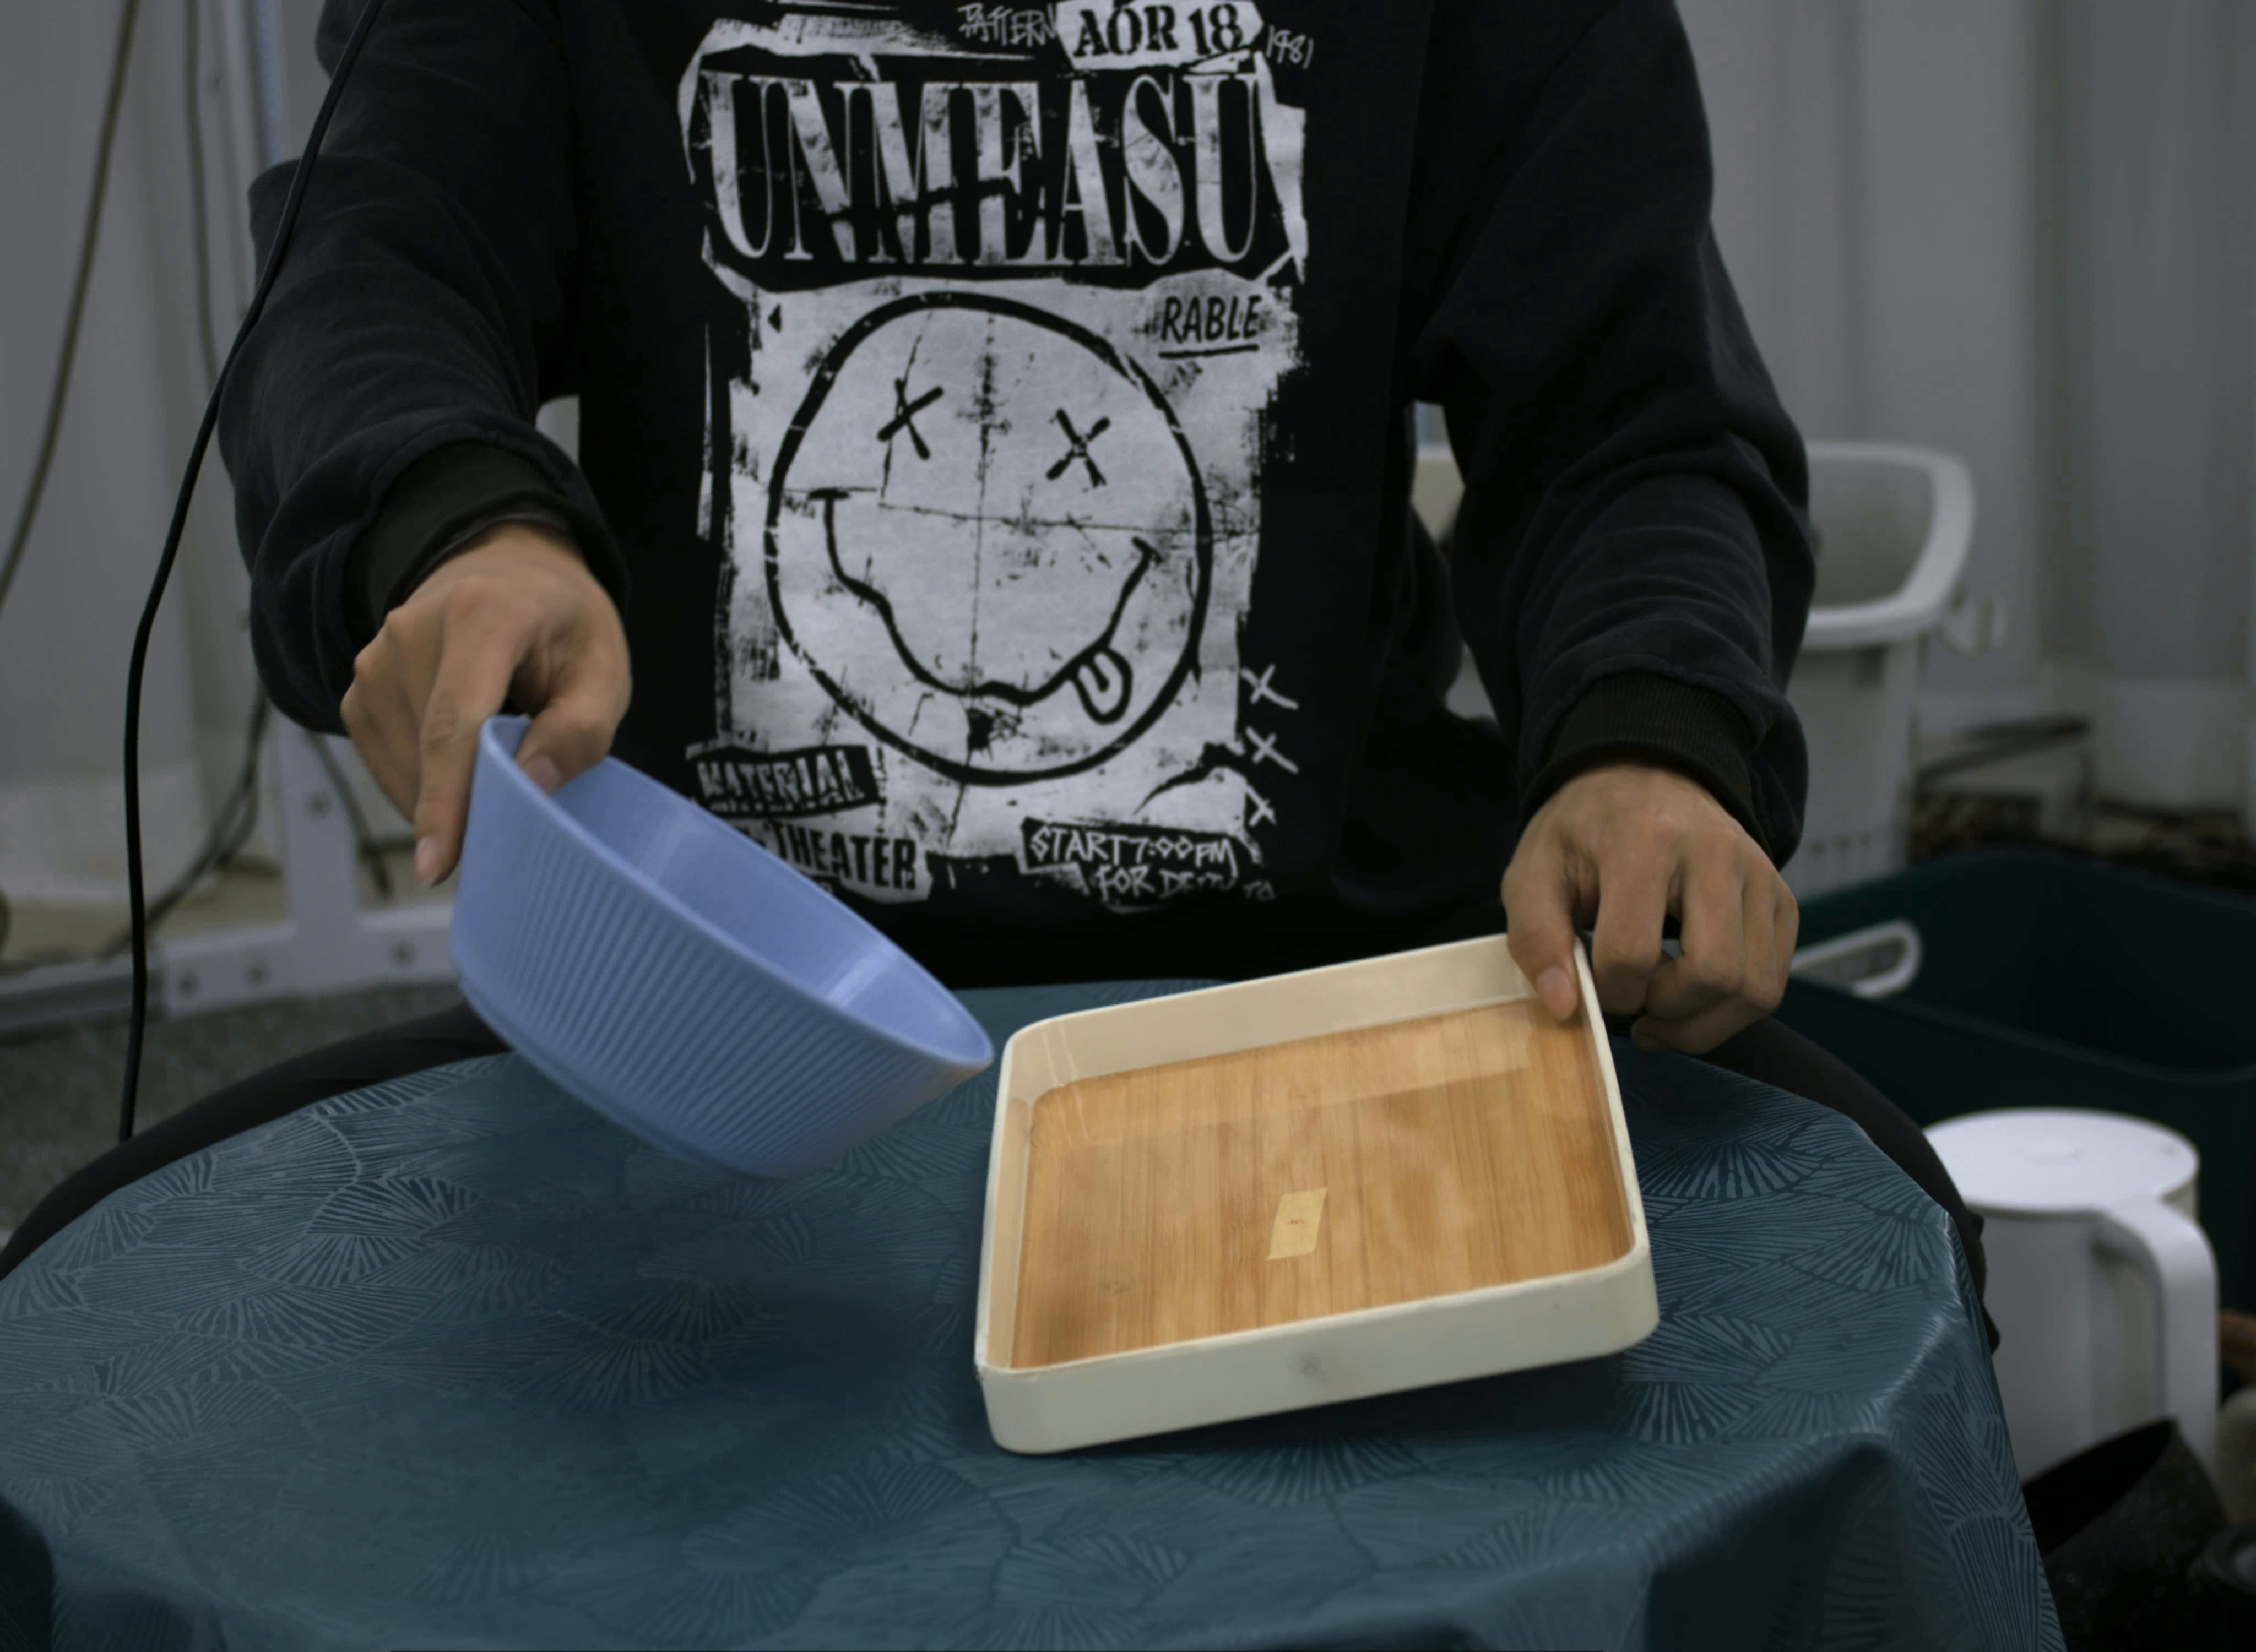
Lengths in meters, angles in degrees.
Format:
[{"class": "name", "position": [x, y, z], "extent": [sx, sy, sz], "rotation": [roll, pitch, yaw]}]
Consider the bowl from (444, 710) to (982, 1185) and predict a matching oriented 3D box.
[{"class": "bowl", "position": [-0.131, 0.044, 1.577], "extent": [0.175, 0.070, 0.177], "rotation": [35, 7, -5]}]

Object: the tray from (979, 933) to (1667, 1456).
[{"class": "tray", "position": [0.055, 0.105, 1.628], "extent": [0.191, 0.027, 0.302], "rotation": [-10, 17, 4]}]
